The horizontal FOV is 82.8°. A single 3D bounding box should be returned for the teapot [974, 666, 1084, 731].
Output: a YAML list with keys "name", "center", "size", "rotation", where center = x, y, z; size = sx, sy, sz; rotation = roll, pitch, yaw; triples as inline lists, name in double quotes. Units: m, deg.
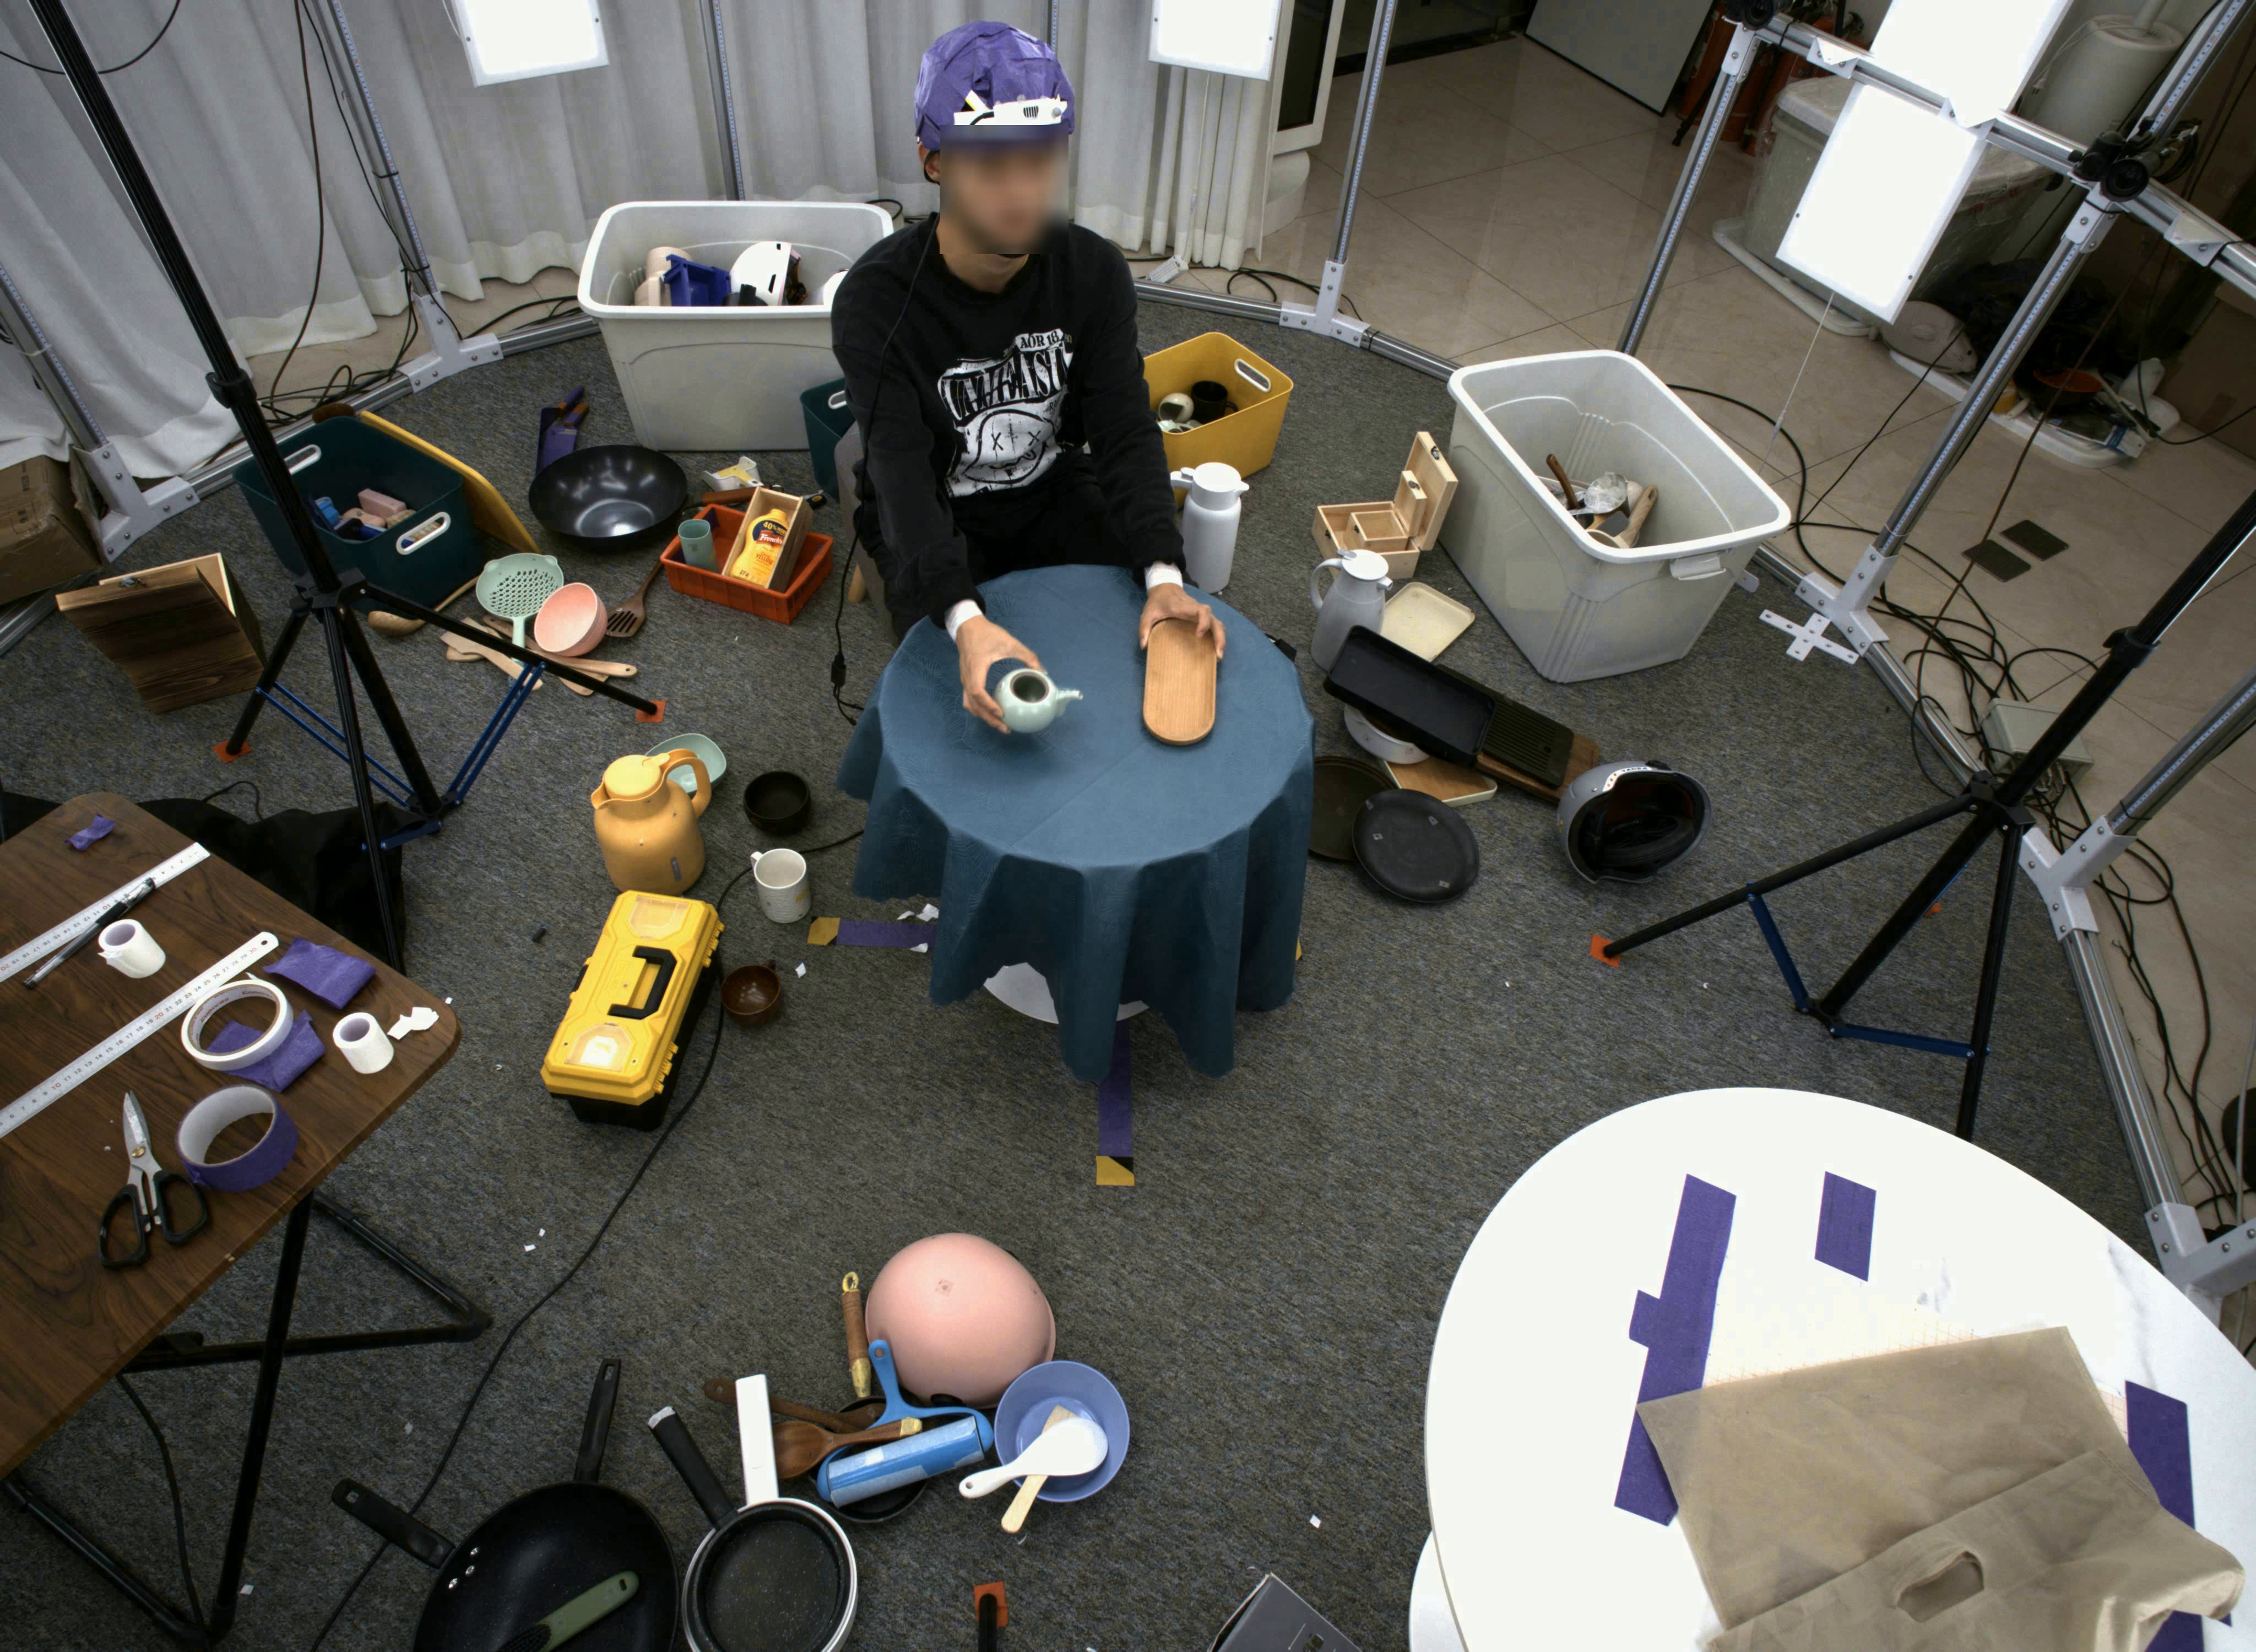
- name: "teapot"
  center: [-0.135, -0.170, 1.711]
  size: [0.143, 0.073, 0.090]
  rotation: [12, 56, -9]

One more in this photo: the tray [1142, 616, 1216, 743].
- name: "tray"
  center: [0.074, -0.212, 1.833]
  size: [0.101, 0.020, 0.237]
  rotation: [5, 53, -1]
